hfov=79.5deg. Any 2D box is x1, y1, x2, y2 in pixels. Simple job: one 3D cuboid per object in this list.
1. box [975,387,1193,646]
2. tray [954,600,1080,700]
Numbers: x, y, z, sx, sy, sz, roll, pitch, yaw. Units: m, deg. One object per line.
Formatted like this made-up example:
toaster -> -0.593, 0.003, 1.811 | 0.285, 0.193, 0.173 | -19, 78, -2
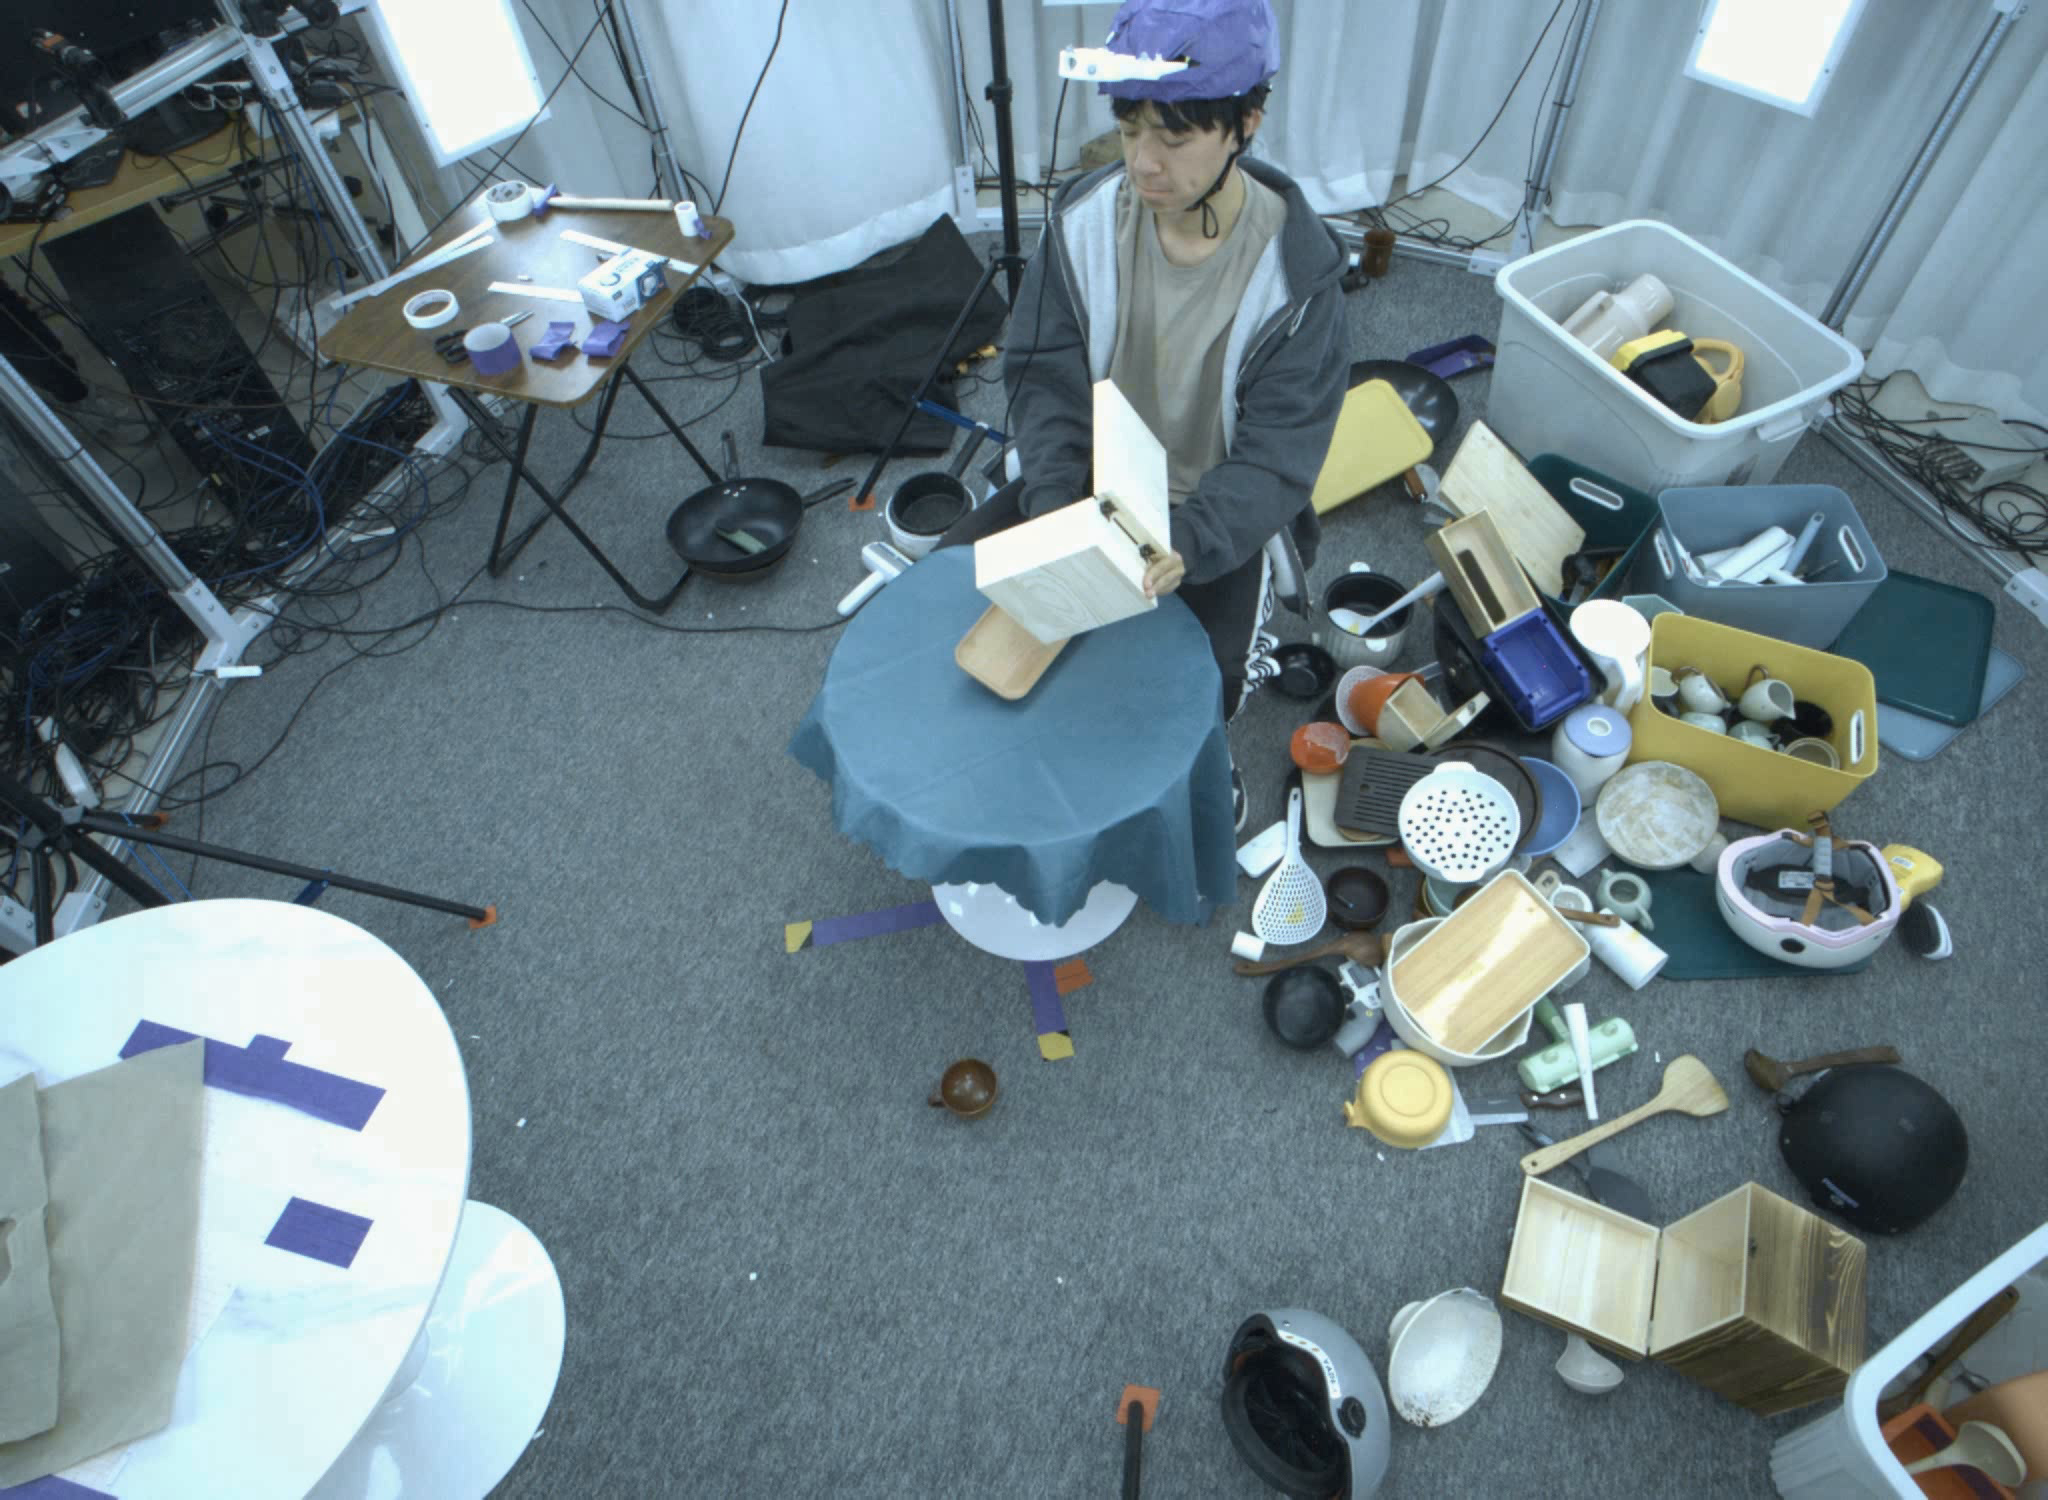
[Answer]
box -> 0.085, -0.322, 1.688 | 0.261, 0.186, 0.251 | -14, 61, 25
tray -> 0.004, -0.189, 1.875 | 0.130, 0.023, 0.251 | 38, 63, 0
